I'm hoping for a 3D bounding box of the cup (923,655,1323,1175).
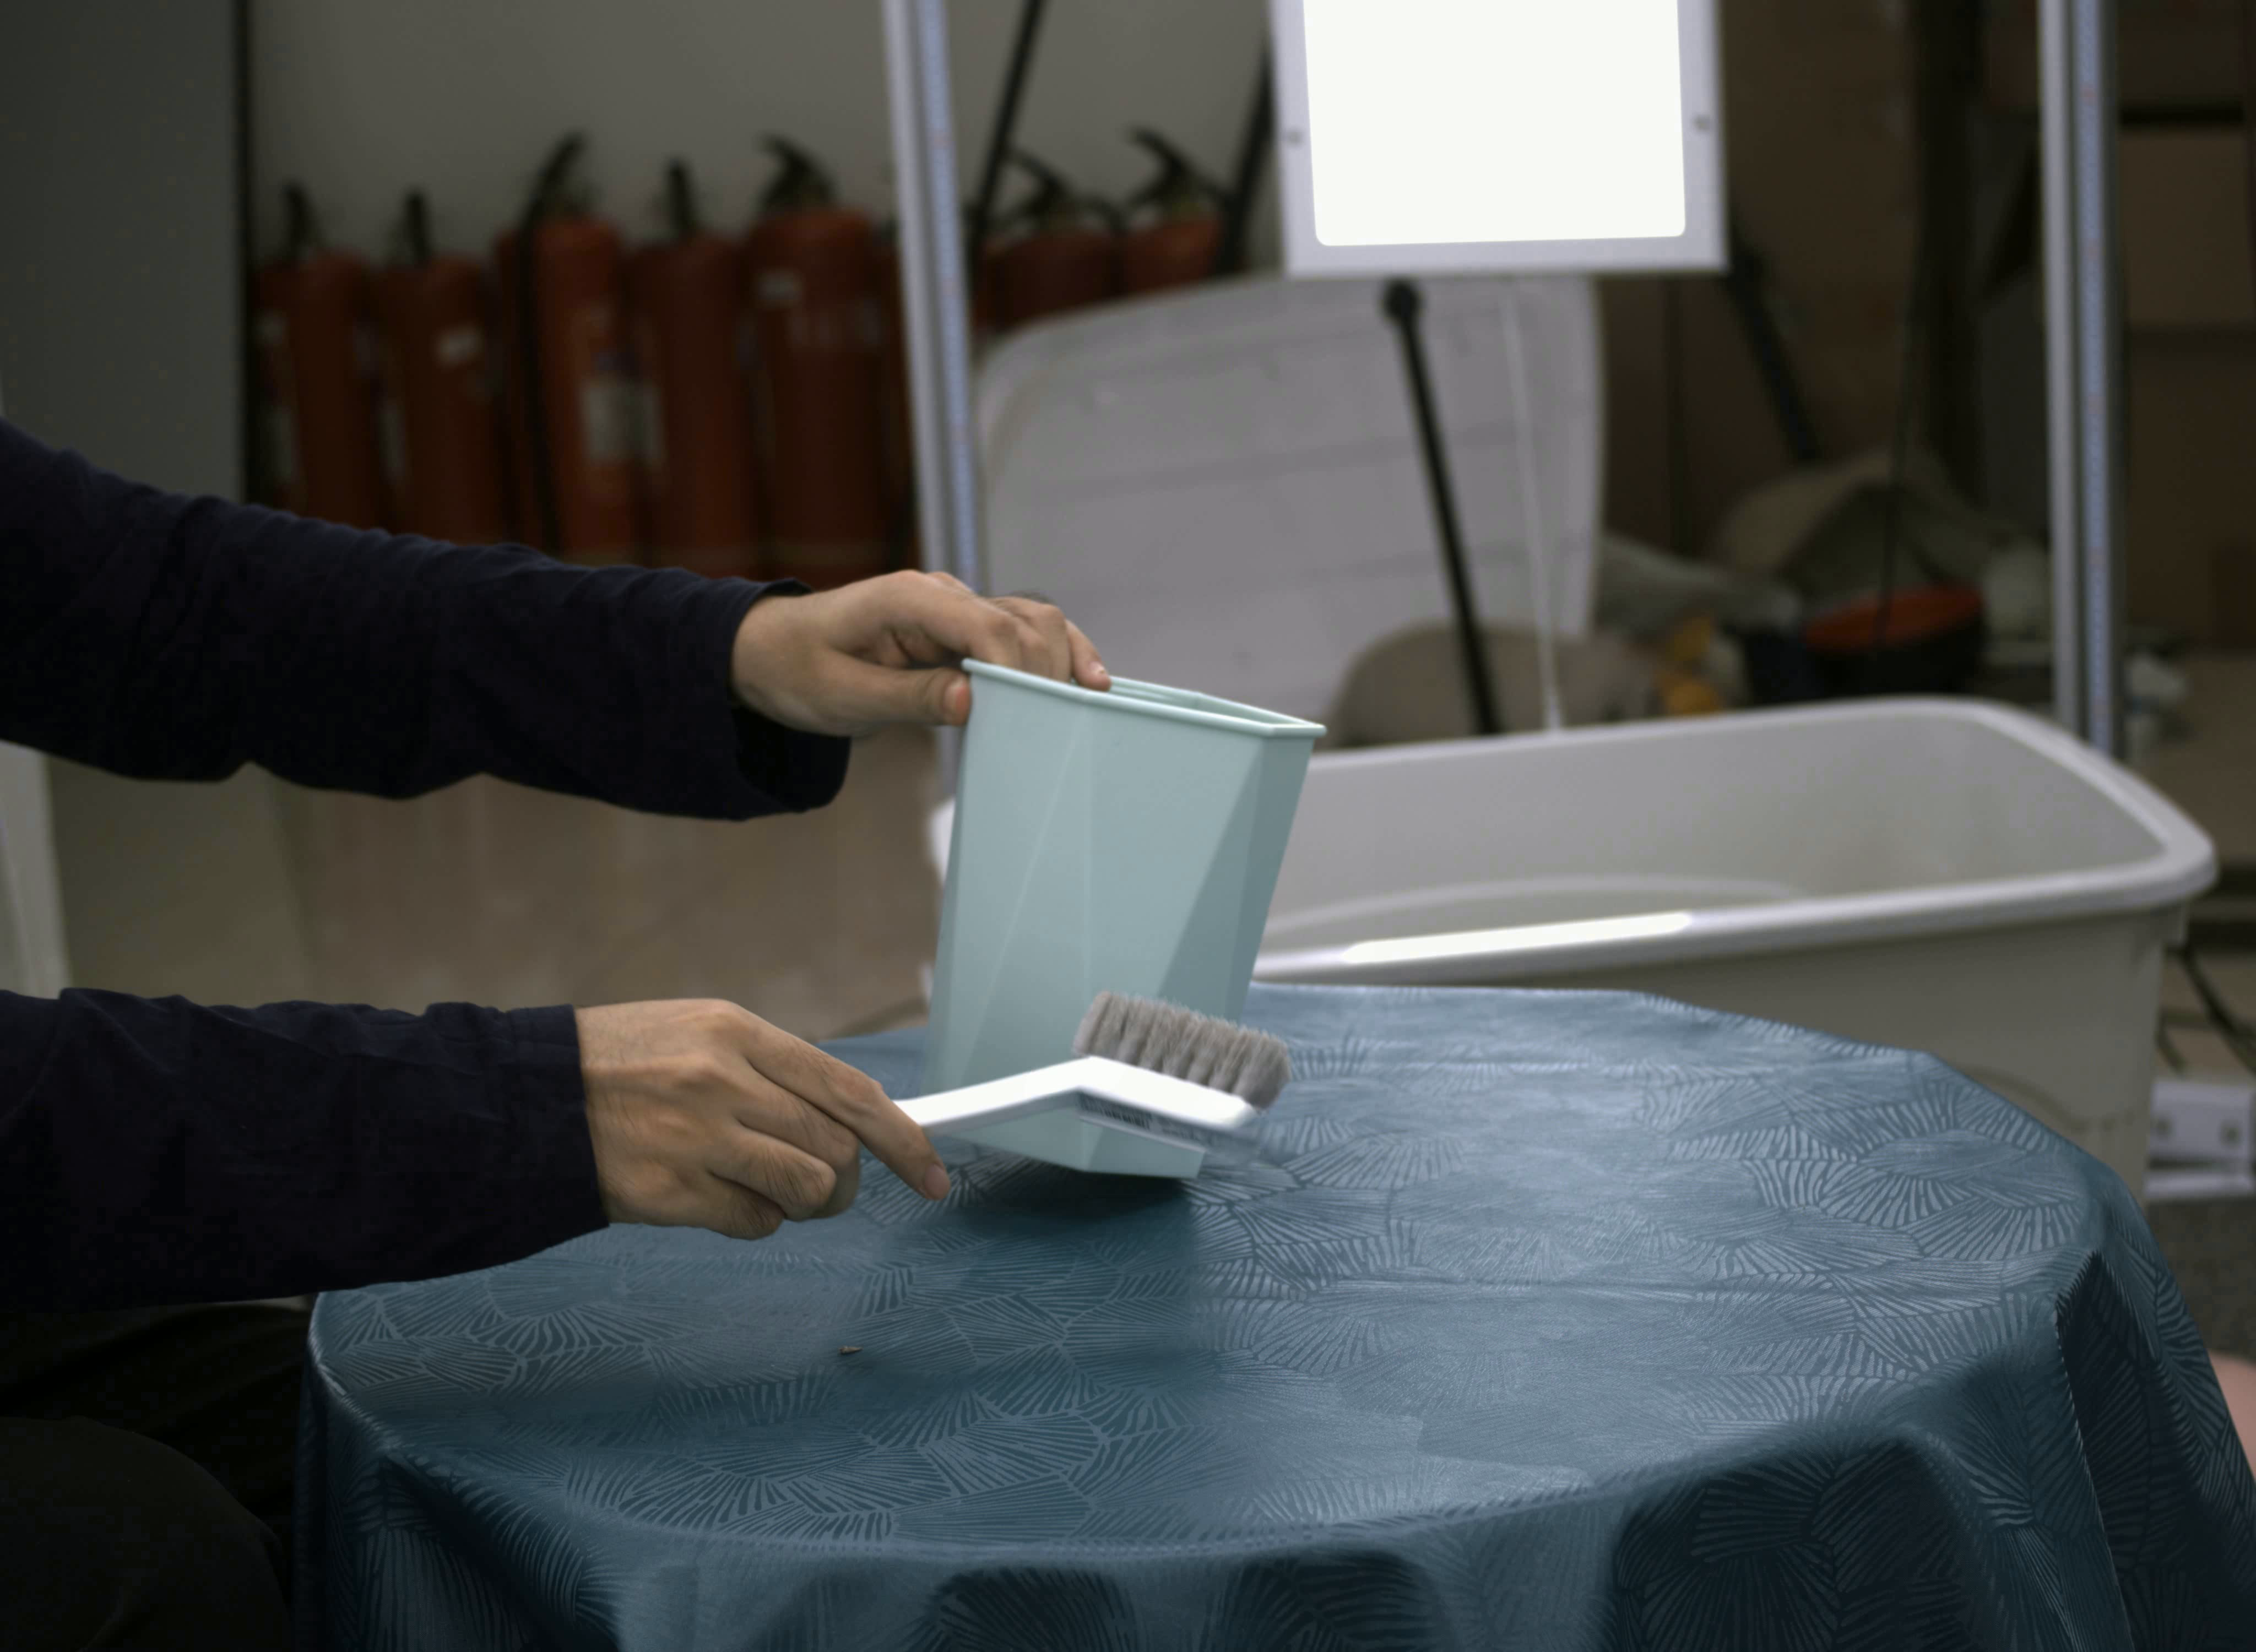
[{"bbox_3d":[-0.008,0.031,1.902,0.112,0.163,0.134,5,7,-43],"label":"cup"}]

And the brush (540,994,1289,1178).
[{"bbox_3d":[-0.069,0.083,1.758,0.246,0.050,0.034,-3,-24,14],"label":"brush"}]
